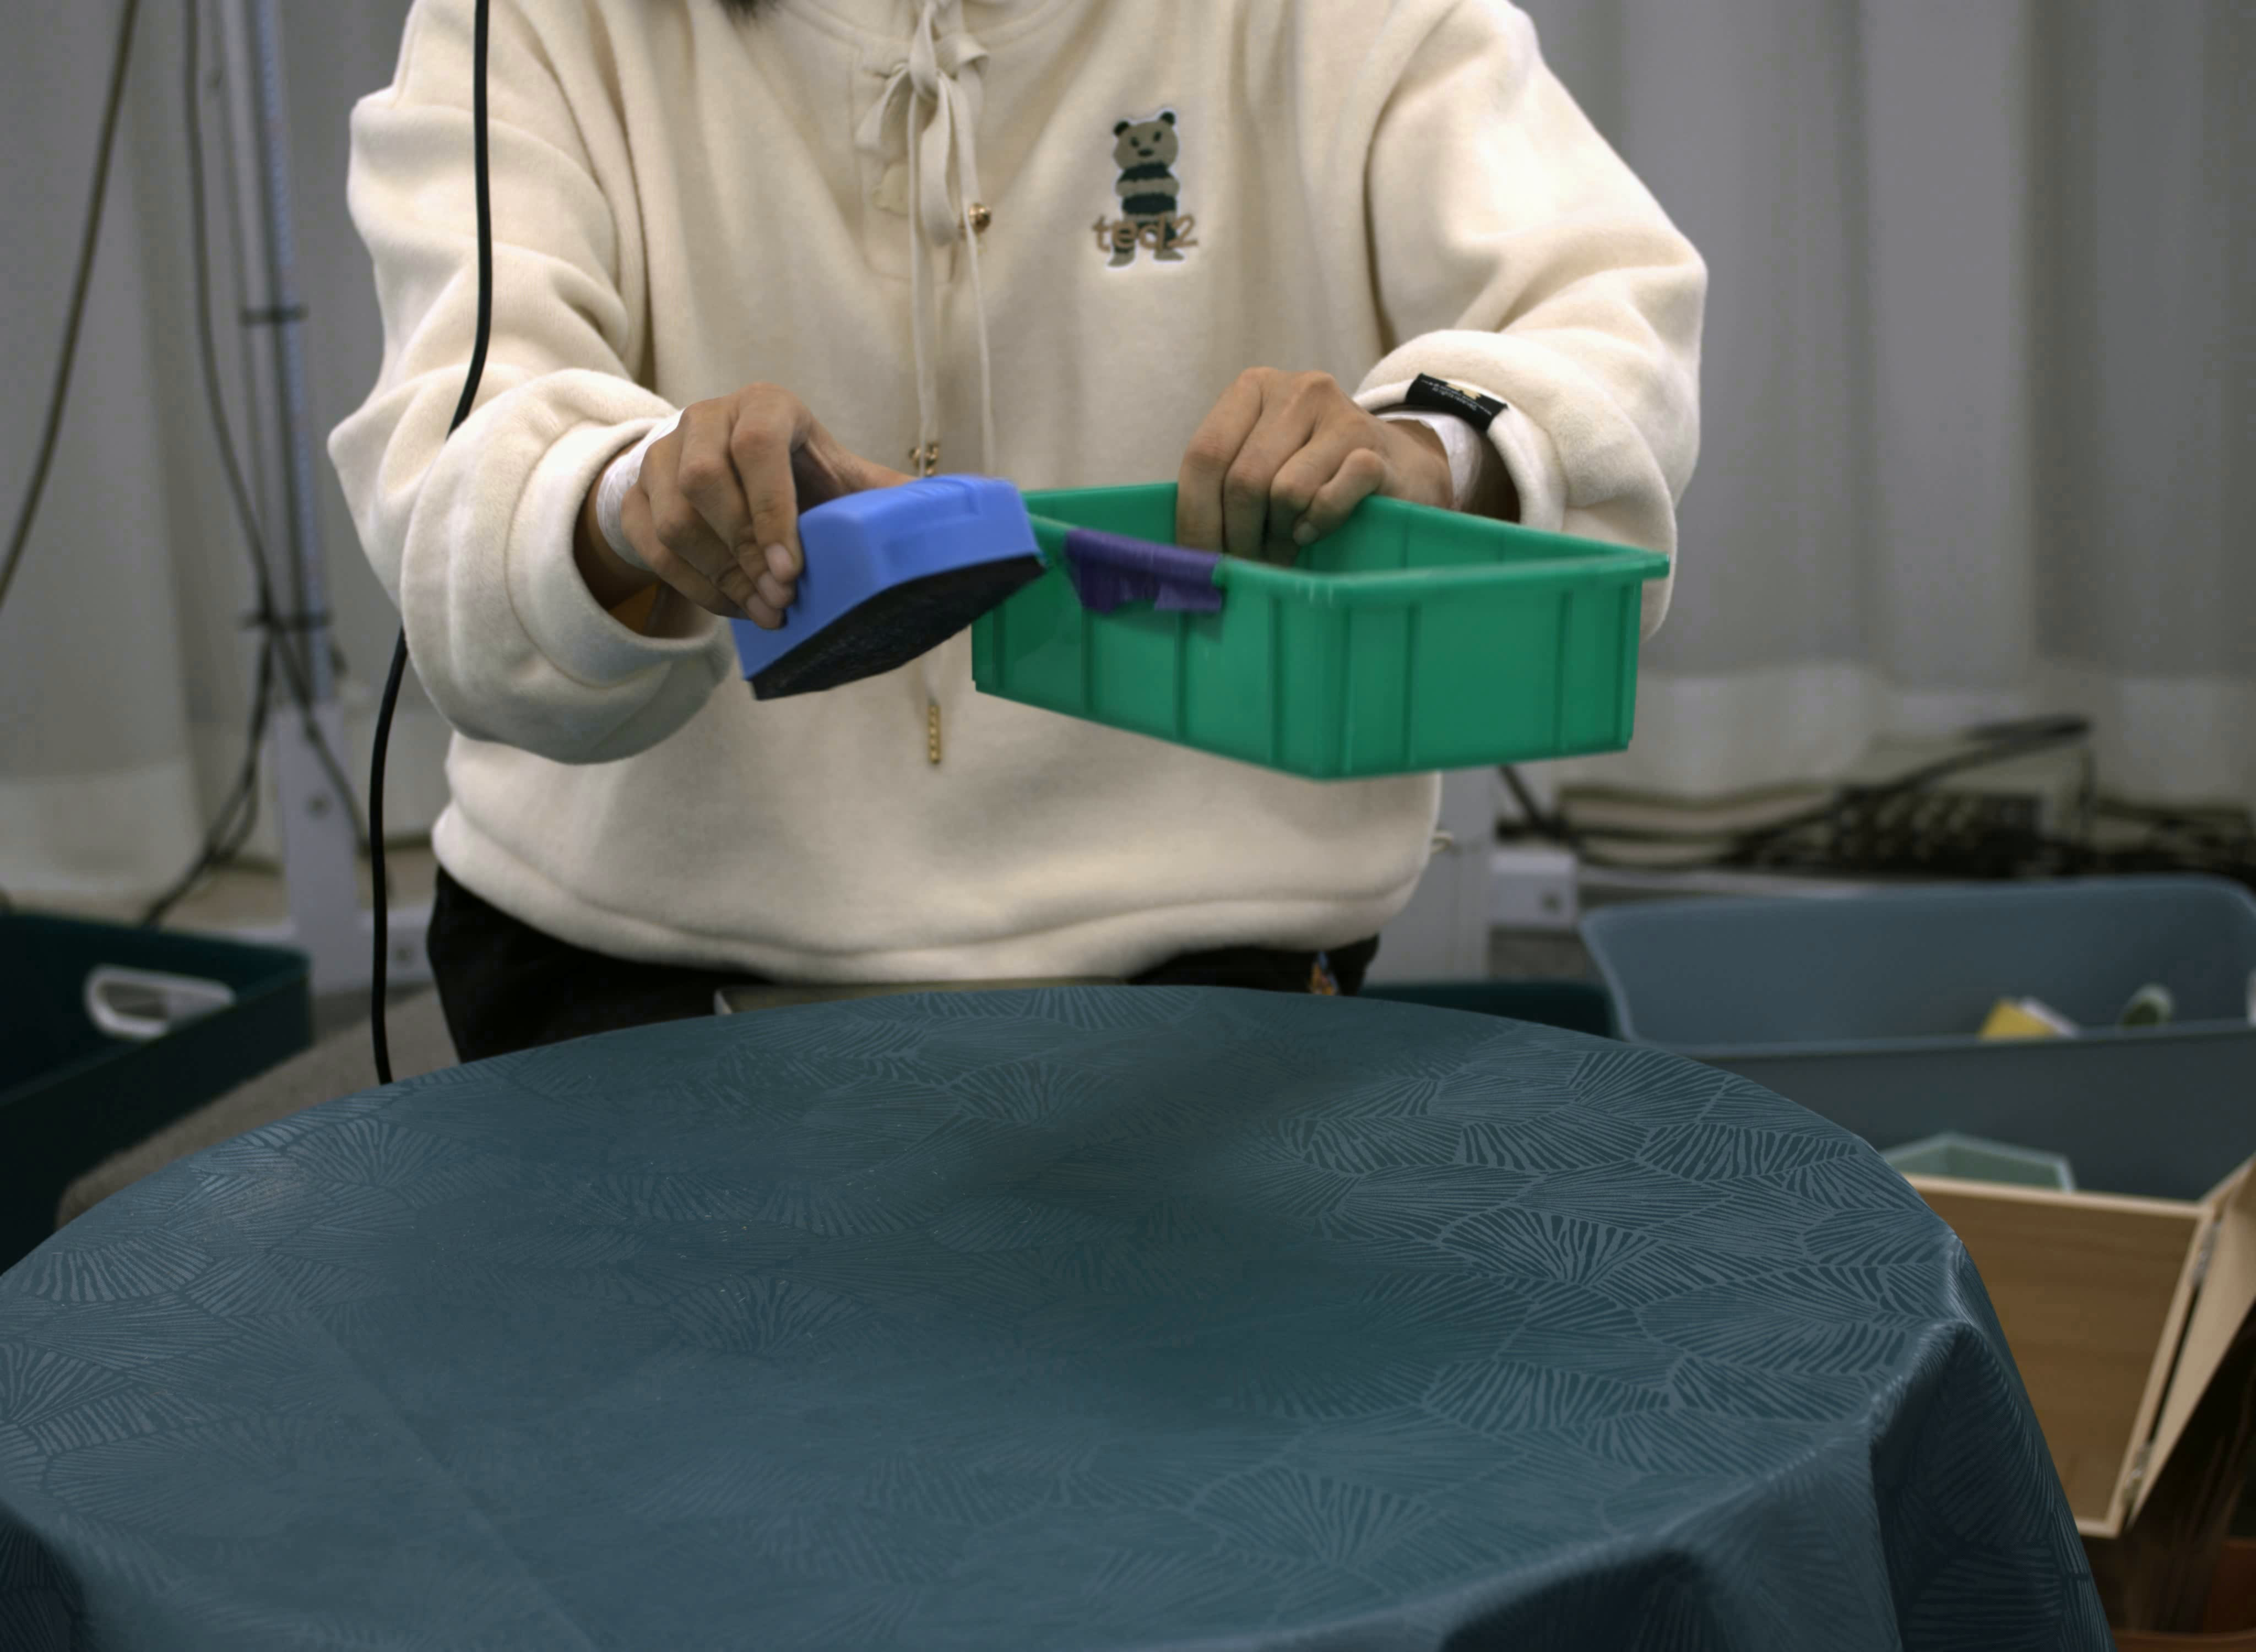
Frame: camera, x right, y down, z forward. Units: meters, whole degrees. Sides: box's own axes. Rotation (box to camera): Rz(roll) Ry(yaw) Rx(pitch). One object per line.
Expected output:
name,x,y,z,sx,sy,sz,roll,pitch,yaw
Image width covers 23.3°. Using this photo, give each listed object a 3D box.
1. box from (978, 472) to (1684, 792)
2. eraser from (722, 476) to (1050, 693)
box,0.055,-0.060,1.665,0.138,0.065,0.212,-8,16,-36
eraser,-0.078,-0.078,1.689,0.053,0.048,0.162,-12,-4,-24
